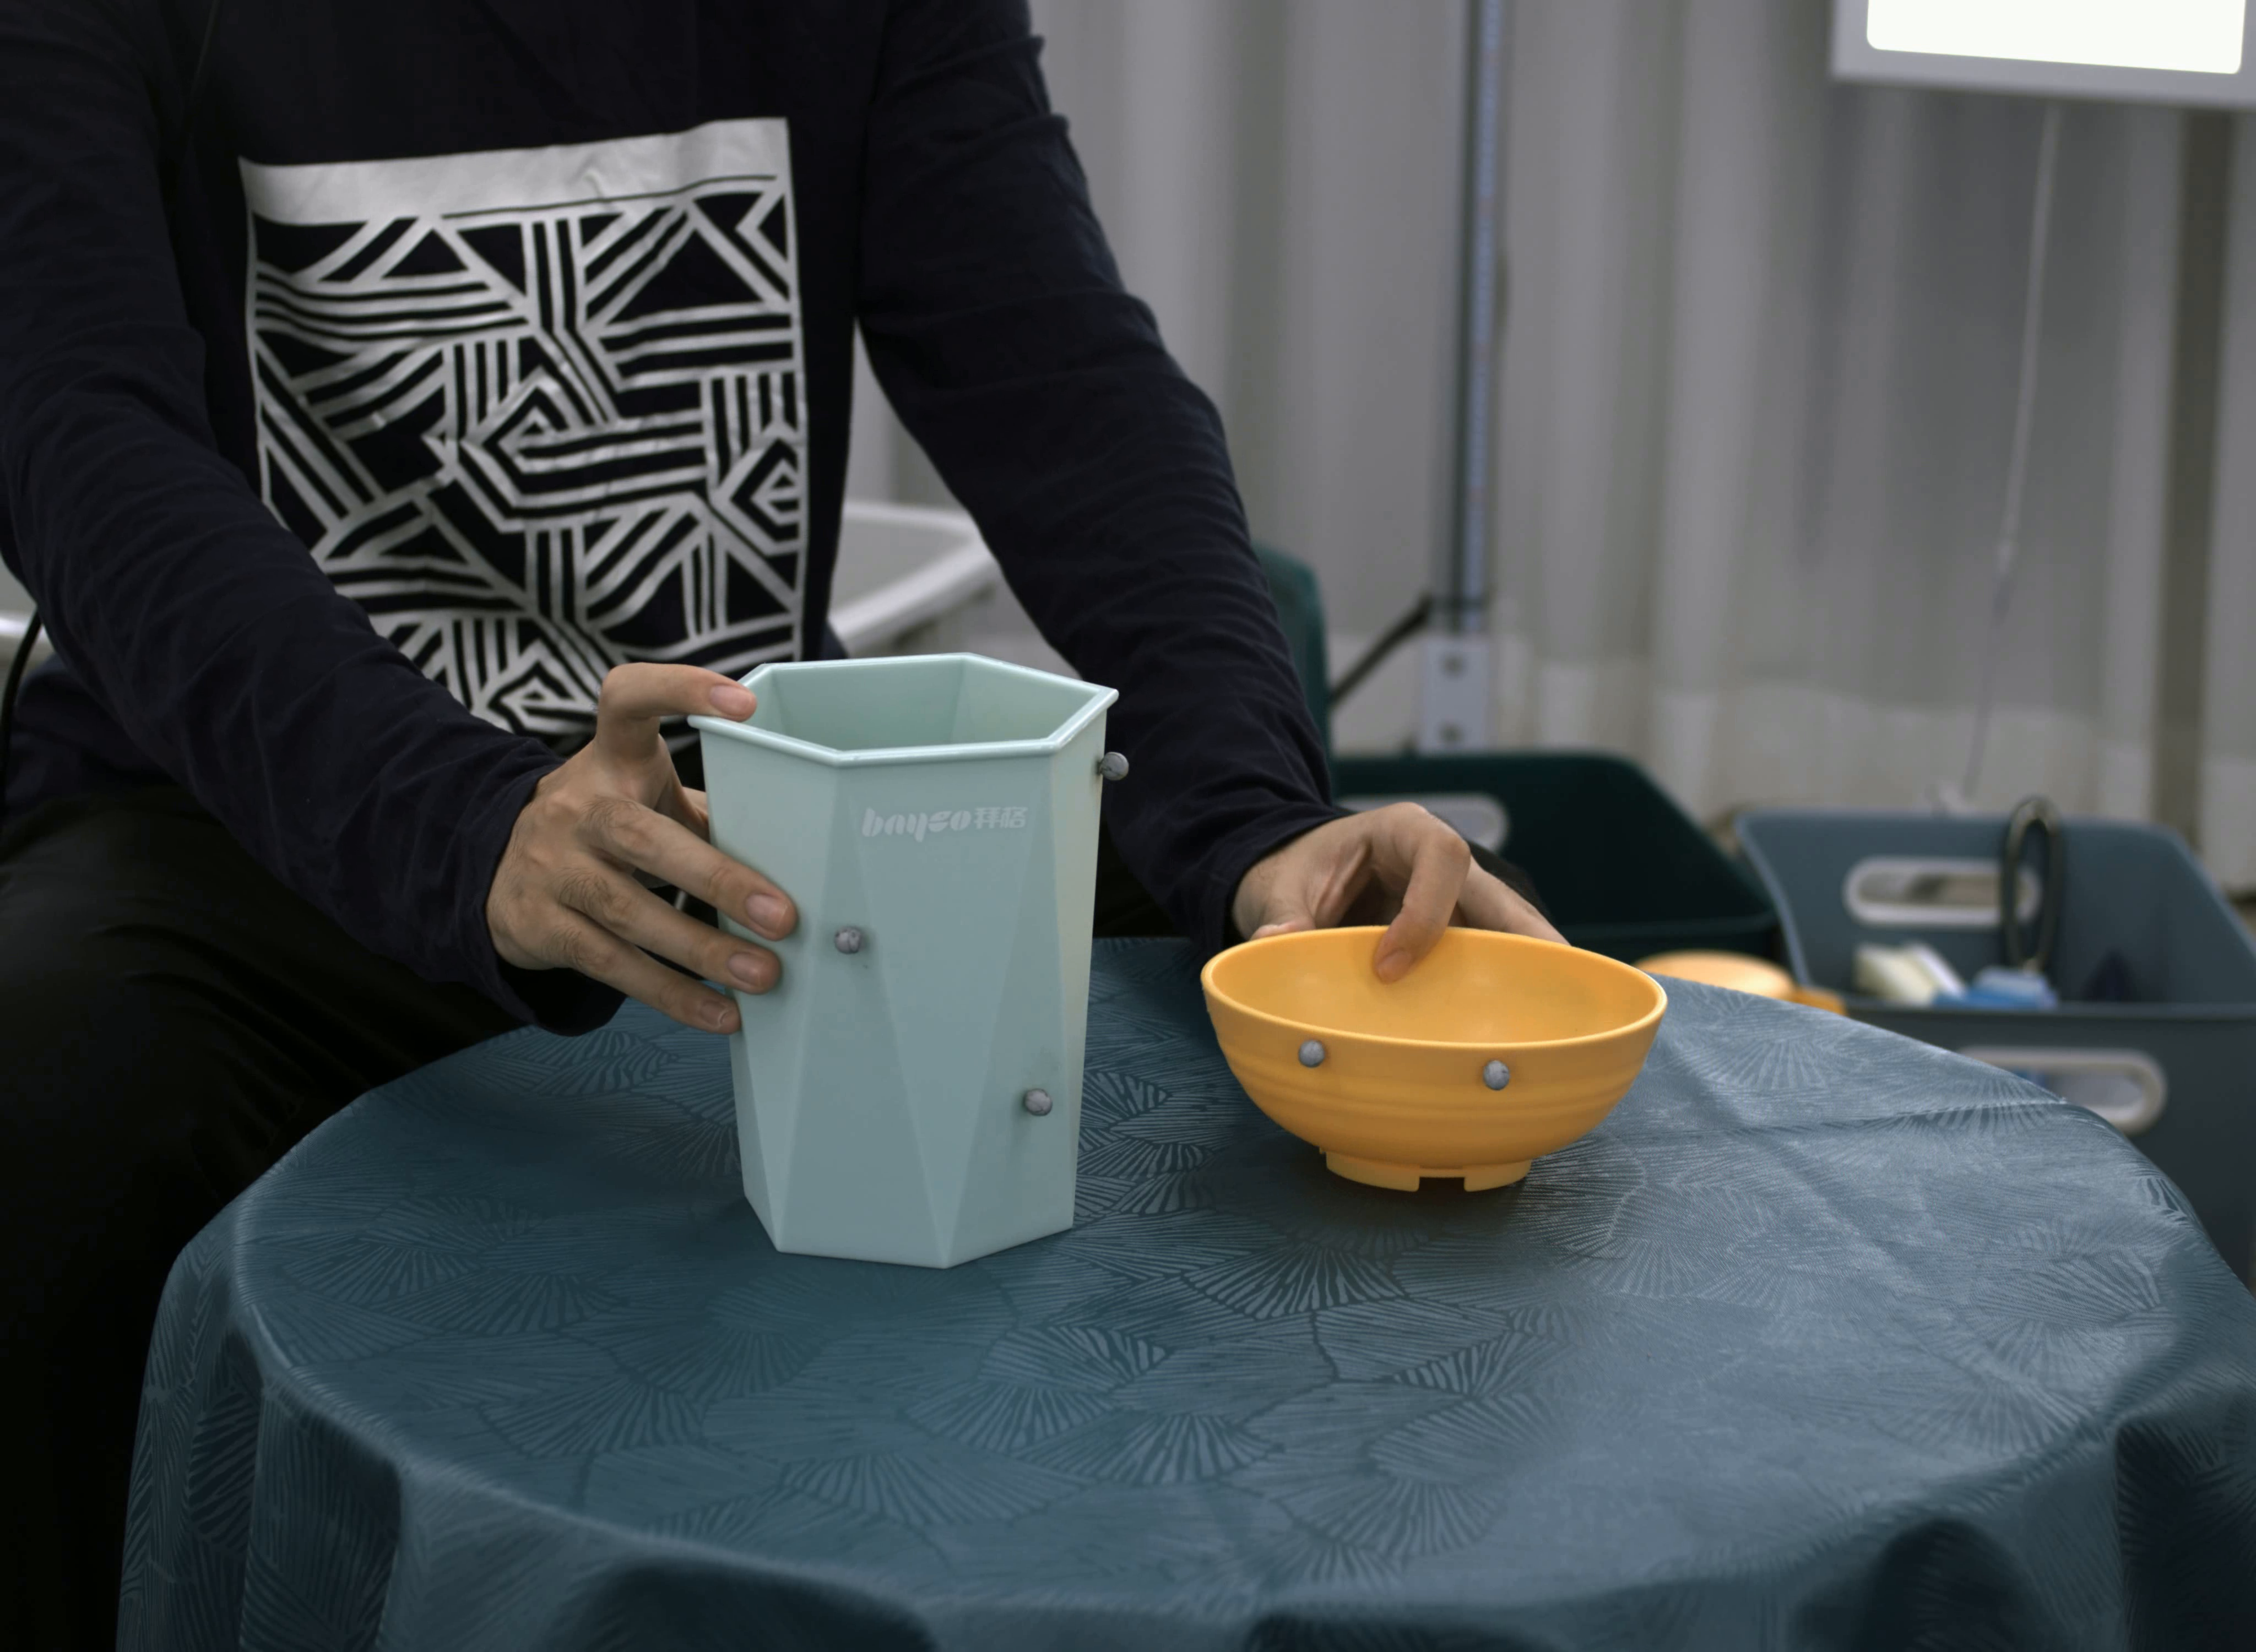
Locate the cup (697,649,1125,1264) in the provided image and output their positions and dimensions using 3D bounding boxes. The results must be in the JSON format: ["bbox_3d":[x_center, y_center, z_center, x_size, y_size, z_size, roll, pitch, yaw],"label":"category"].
[{"bbox_3d":[-0.065,0.039,1.581,0.131,0.164,0.114,-4,15,-16],"label":"cup"}]

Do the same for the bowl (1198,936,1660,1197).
[{"bbox_3d":[0.092,0.079,1.643,0.145,0.060,0.145,4,11,0],"label":"bowl"}]
